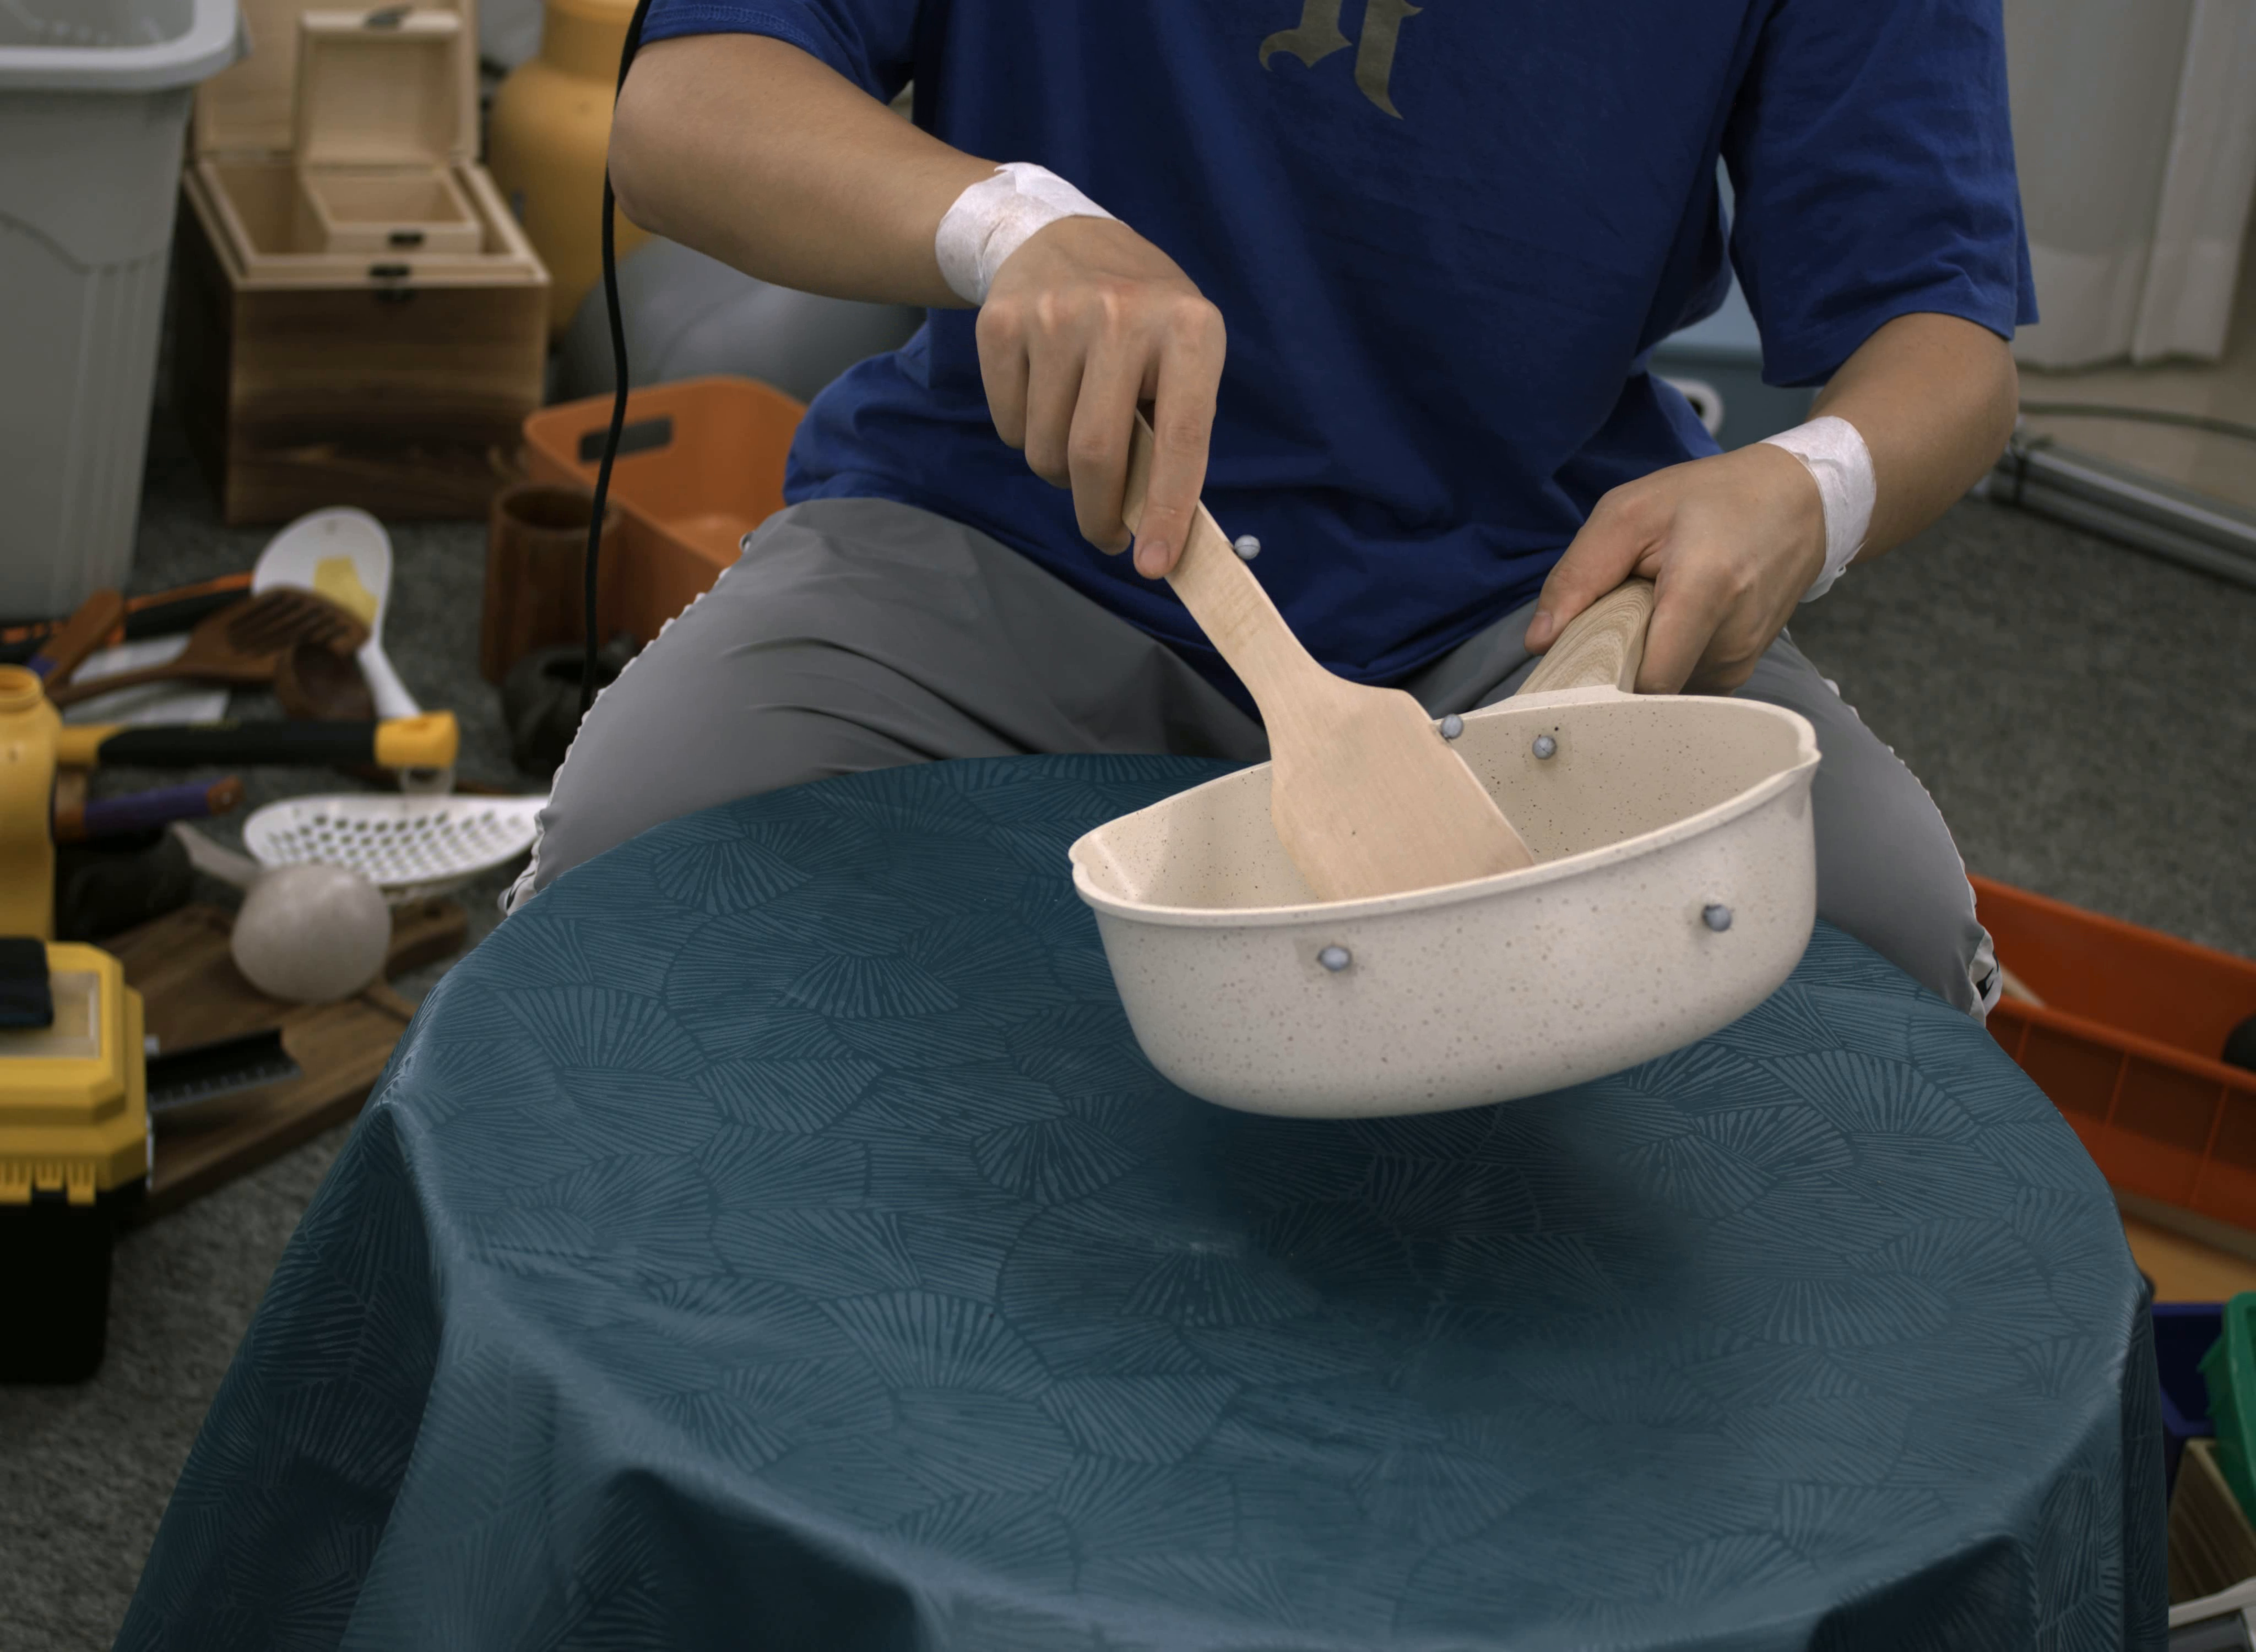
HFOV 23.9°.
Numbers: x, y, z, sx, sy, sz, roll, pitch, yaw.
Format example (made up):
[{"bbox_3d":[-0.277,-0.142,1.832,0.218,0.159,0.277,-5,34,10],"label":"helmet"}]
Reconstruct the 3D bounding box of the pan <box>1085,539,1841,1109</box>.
[{"bbox_3d":[0.147,-0.005,1.857,0.264,0.102,0.434,-9,12,22],"label":"pan"}]

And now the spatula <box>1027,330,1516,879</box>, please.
[{"bbox_3d":[0.040,-0.071,1.852,0.010,0.072,0.296,20,30,-52],"label":"spatula"}]
